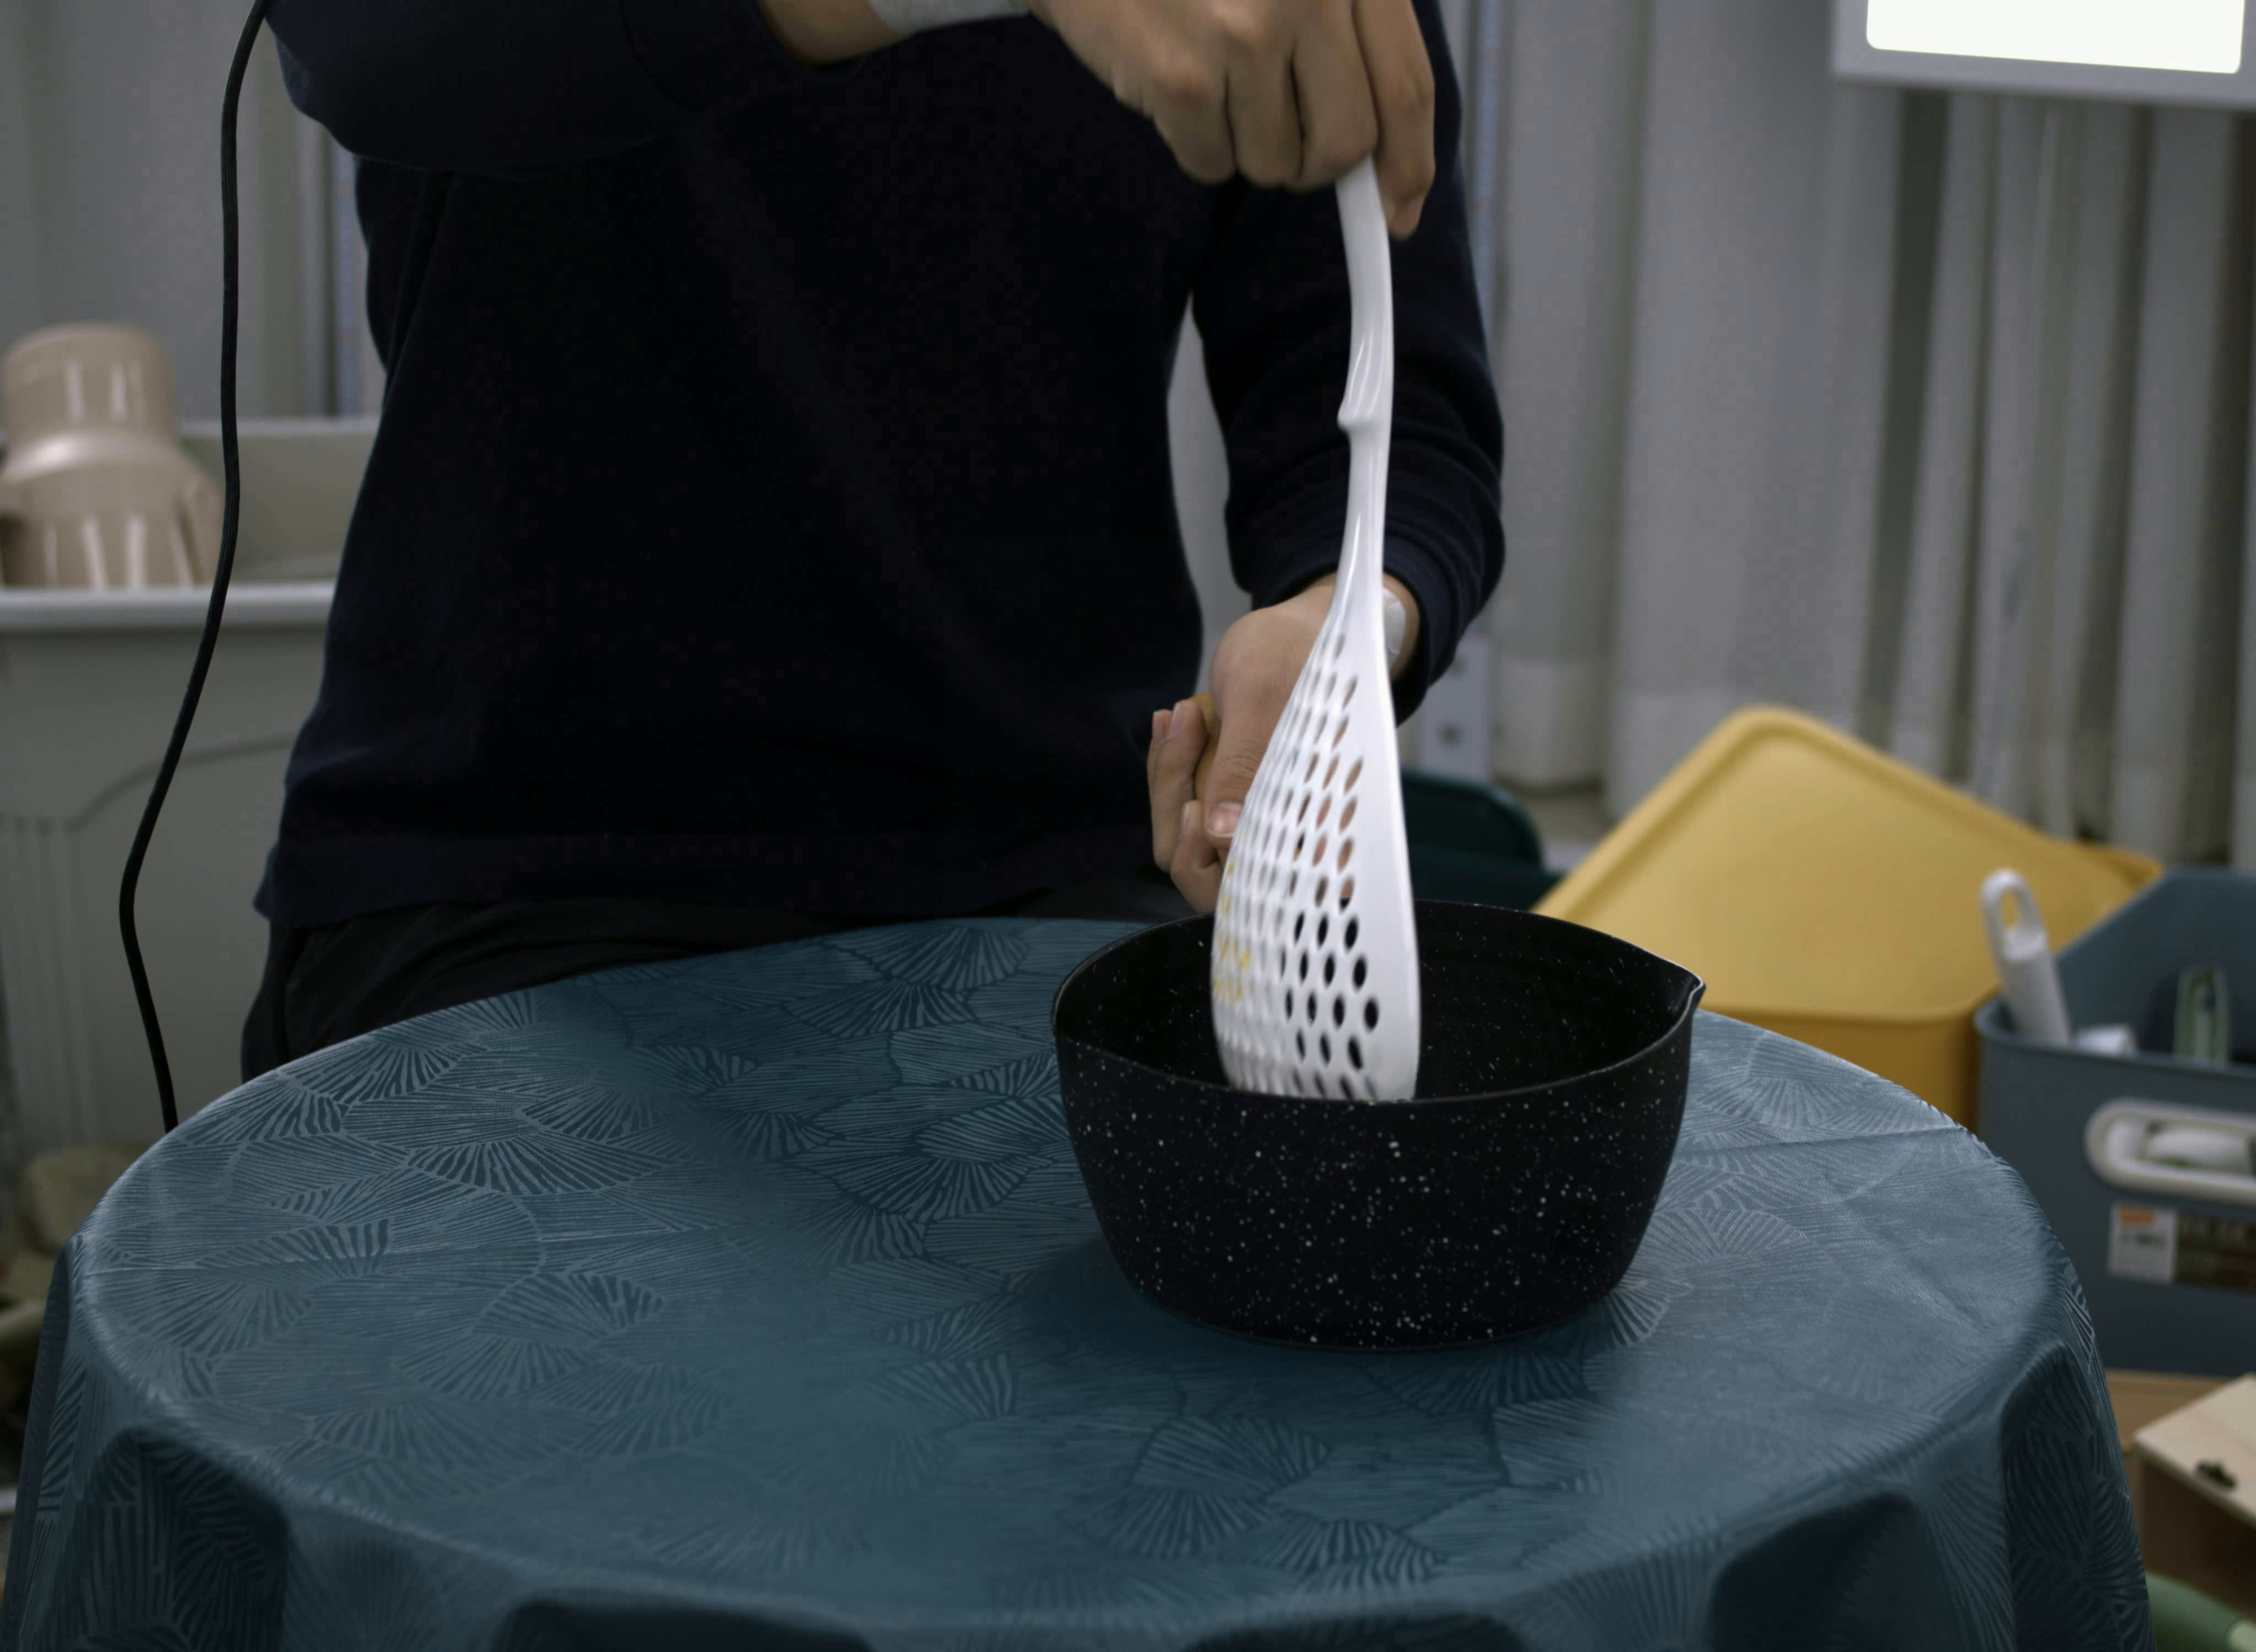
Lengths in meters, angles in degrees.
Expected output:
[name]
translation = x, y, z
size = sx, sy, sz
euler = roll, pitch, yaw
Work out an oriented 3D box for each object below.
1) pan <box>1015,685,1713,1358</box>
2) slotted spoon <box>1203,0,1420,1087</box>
[pan]
translation = 0.056, 0.055, 1.618
size = 0.207, 0.109, 0.339
euler = -4, 19, -11
[slotted spoon]
translation = 0.056, -0.061, 1.504
size = 0.050, 0.350, 0.135
euler = 4, 9, -16
